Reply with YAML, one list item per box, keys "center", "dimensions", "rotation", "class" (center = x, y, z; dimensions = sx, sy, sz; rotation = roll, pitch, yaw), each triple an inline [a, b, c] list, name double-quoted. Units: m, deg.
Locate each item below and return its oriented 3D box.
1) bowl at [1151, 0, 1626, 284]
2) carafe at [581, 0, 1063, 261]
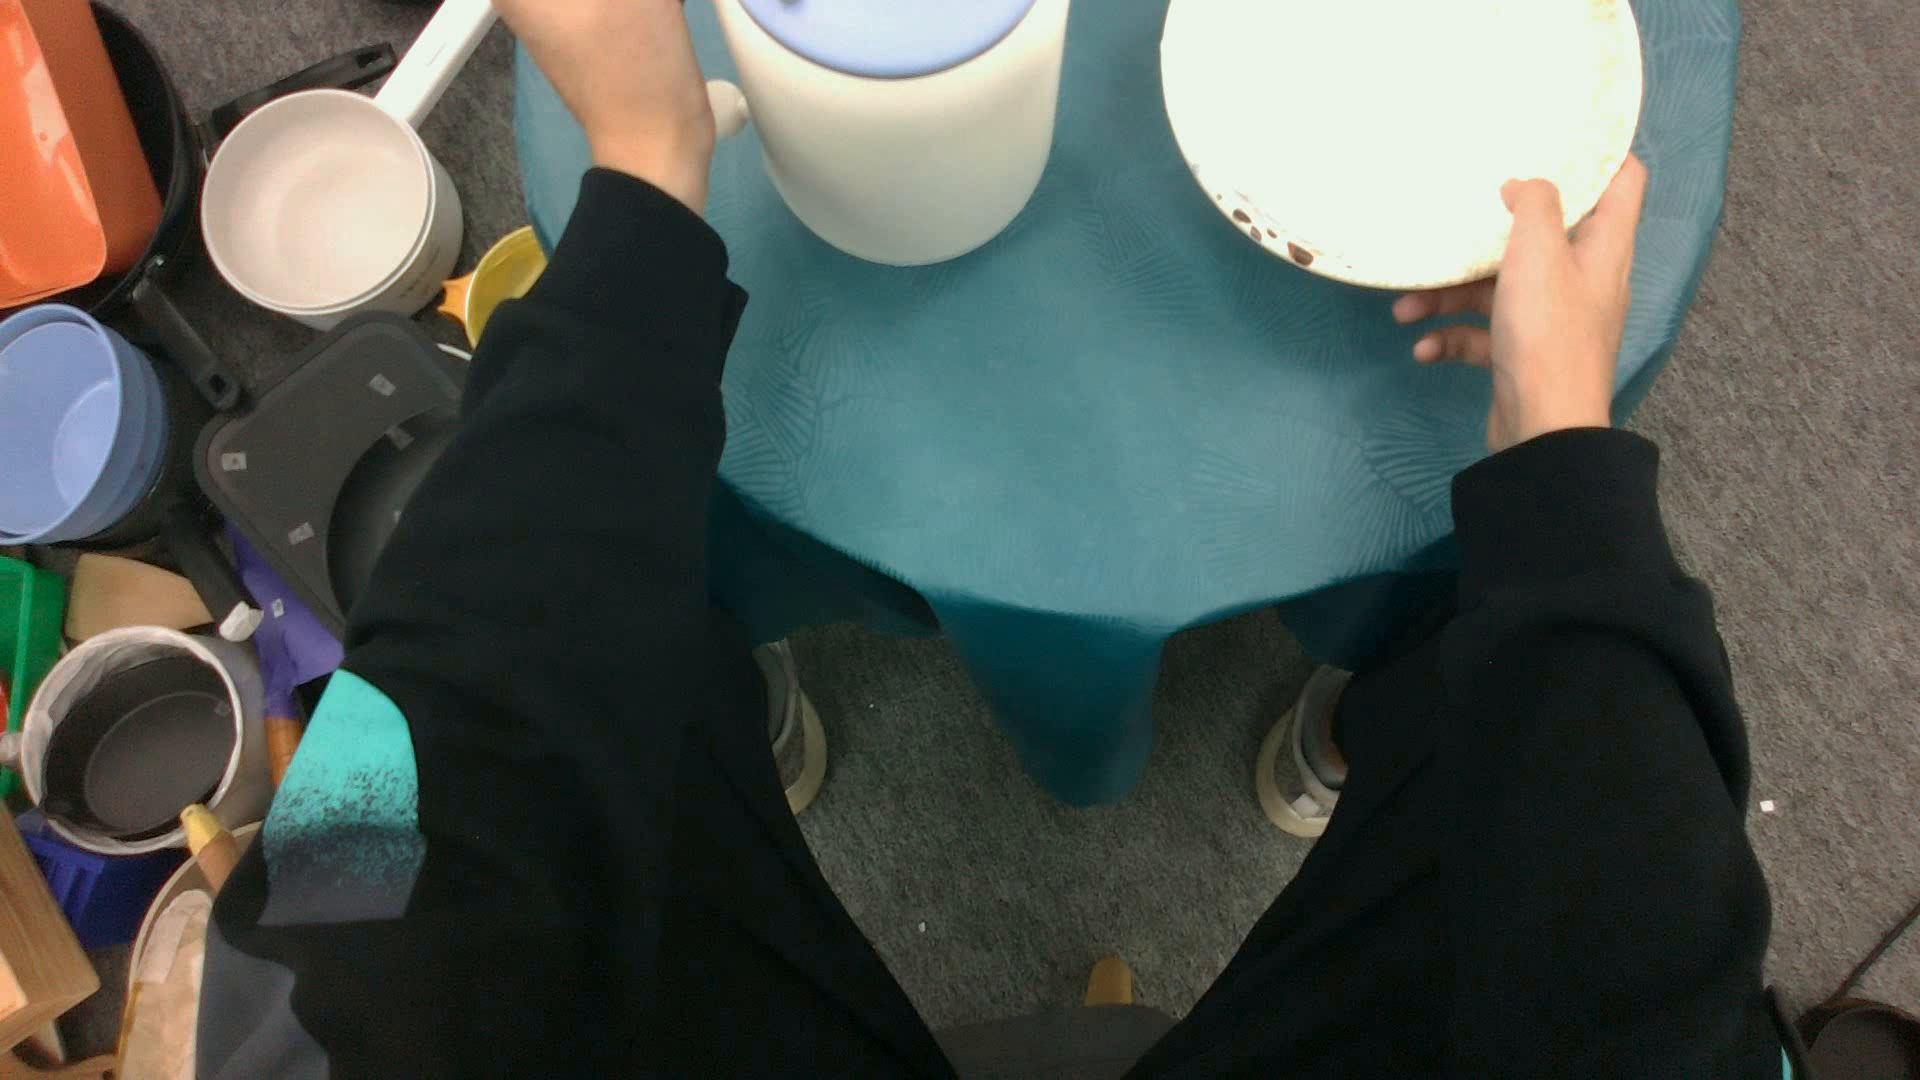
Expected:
- center: [0.186, -0.206, 0.631]
  dimensions: [0.204, 0.078, 0.204]
  rotation: [0, 83, 2]
  class: "bowl"
- center: [-0.051, -0.200, 0.549]
  dimensions: [0.191, 0.182, 0.132]
  rotation: [-1, 80, 1]
  class: "carafe"
